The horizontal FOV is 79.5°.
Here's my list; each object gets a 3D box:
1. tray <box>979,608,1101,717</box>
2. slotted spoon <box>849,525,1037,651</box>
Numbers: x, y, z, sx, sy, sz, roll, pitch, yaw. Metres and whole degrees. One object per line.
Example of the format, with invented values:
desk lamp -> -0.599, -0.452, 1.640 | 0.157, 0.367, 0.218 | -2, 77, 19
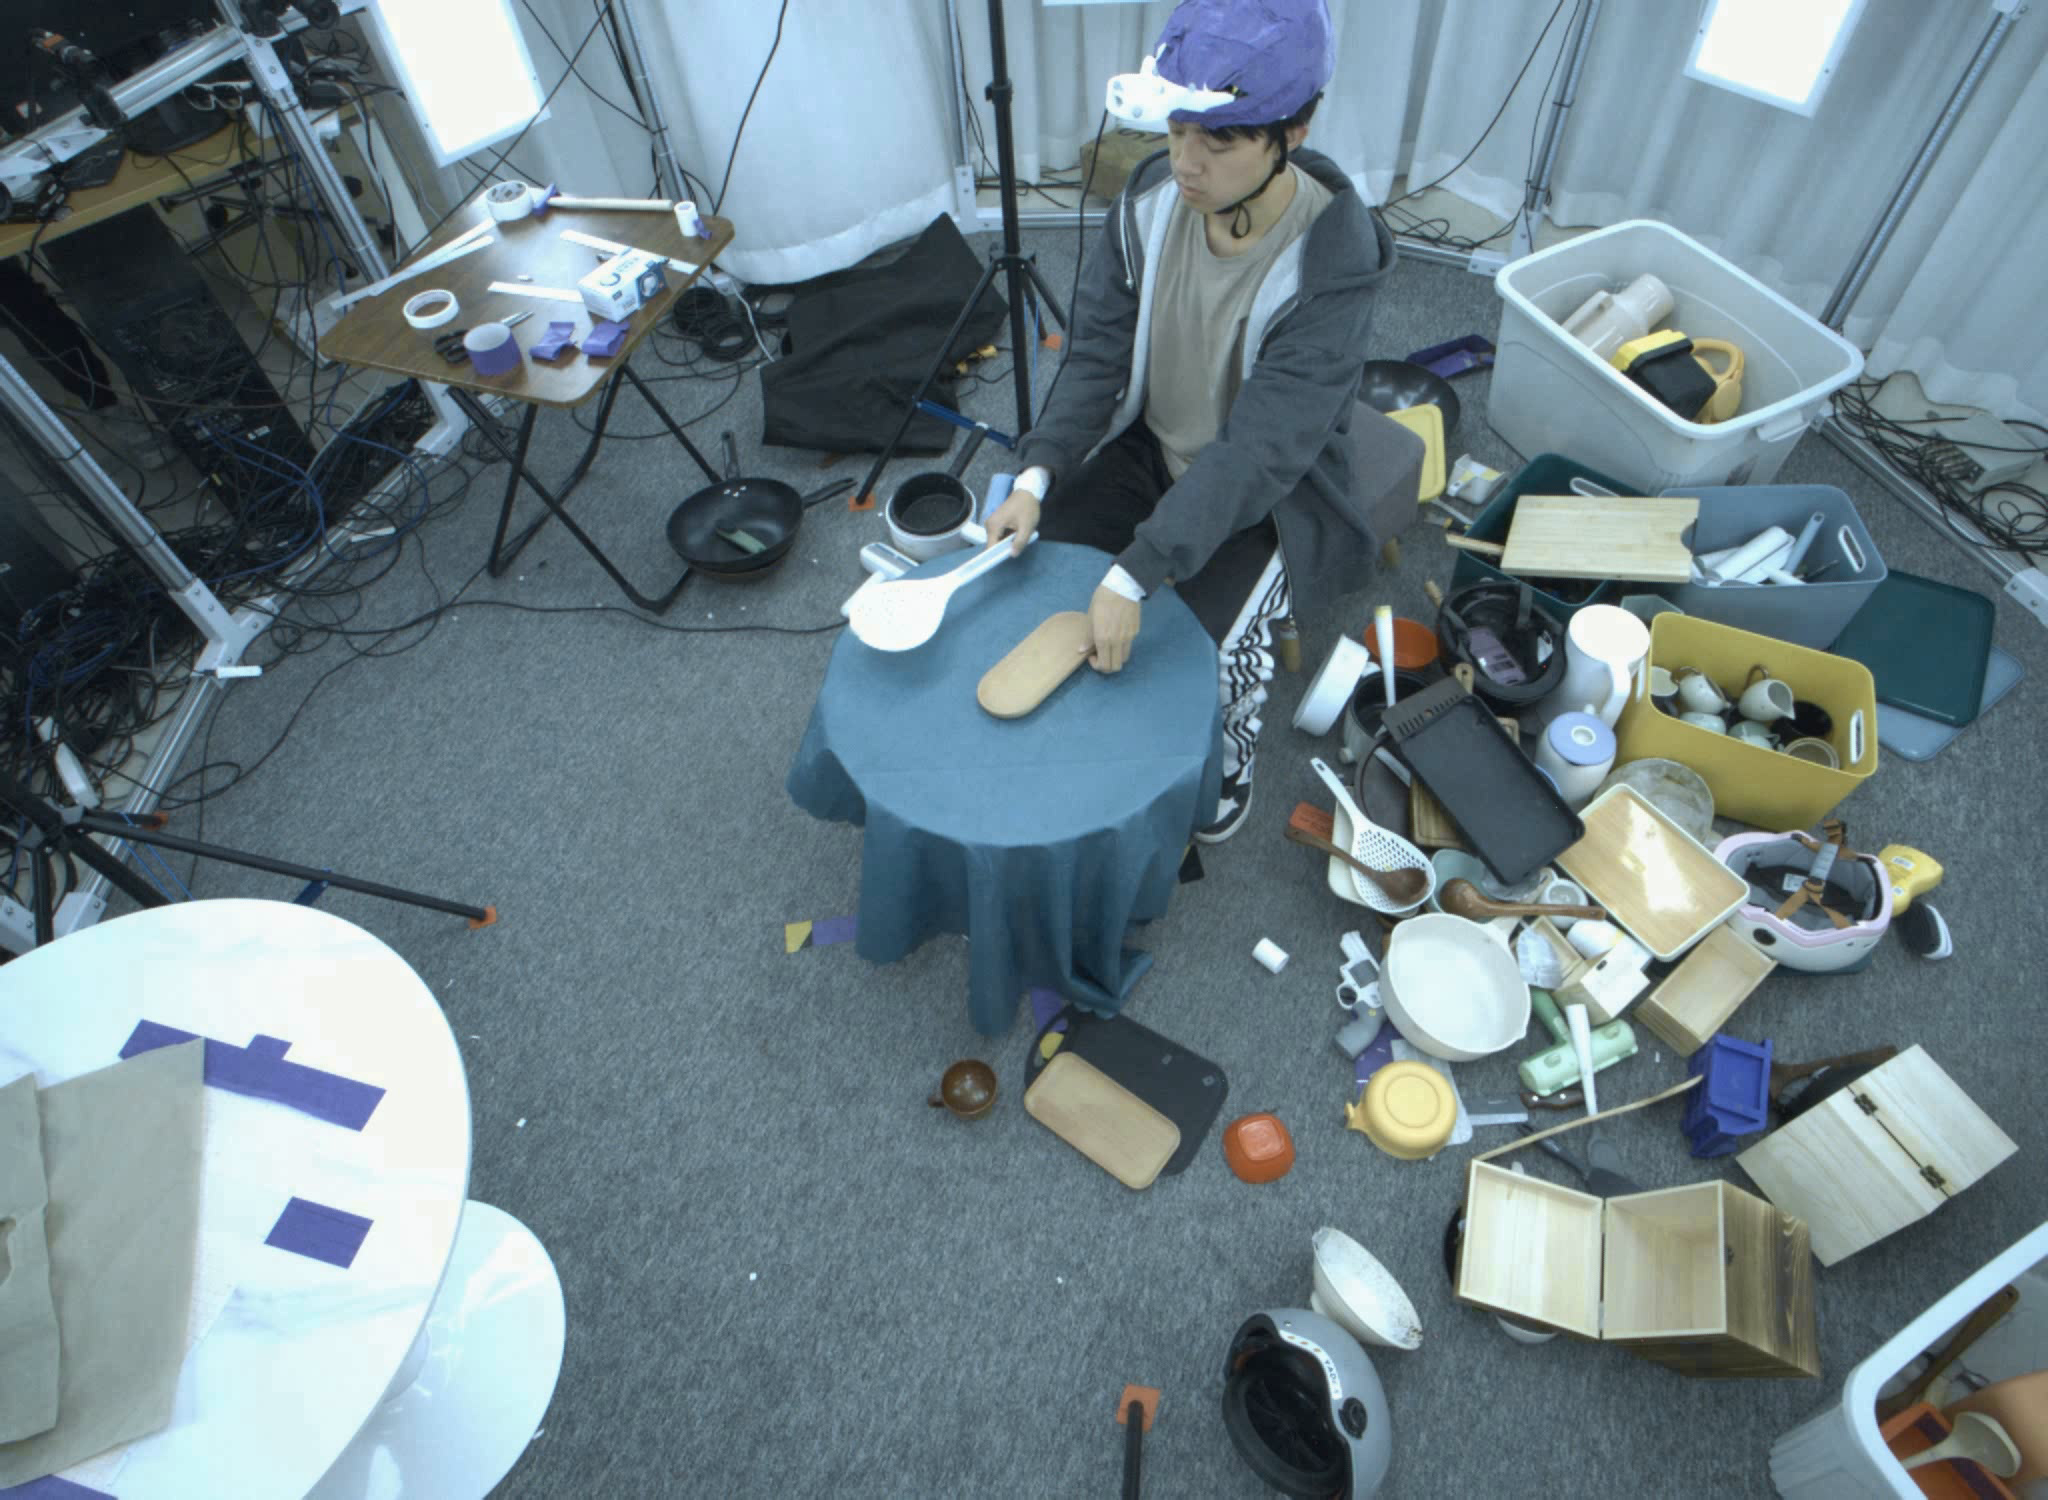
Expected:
tray -> 0.025, -0.134, 1.866 | 0.100, 0.020, 0.232 | 33, 63, 26
slotted spoon -> -0.117, -0.259, 1.903 | 0.352, 0.046, 0.134 | -39, 67, -20
